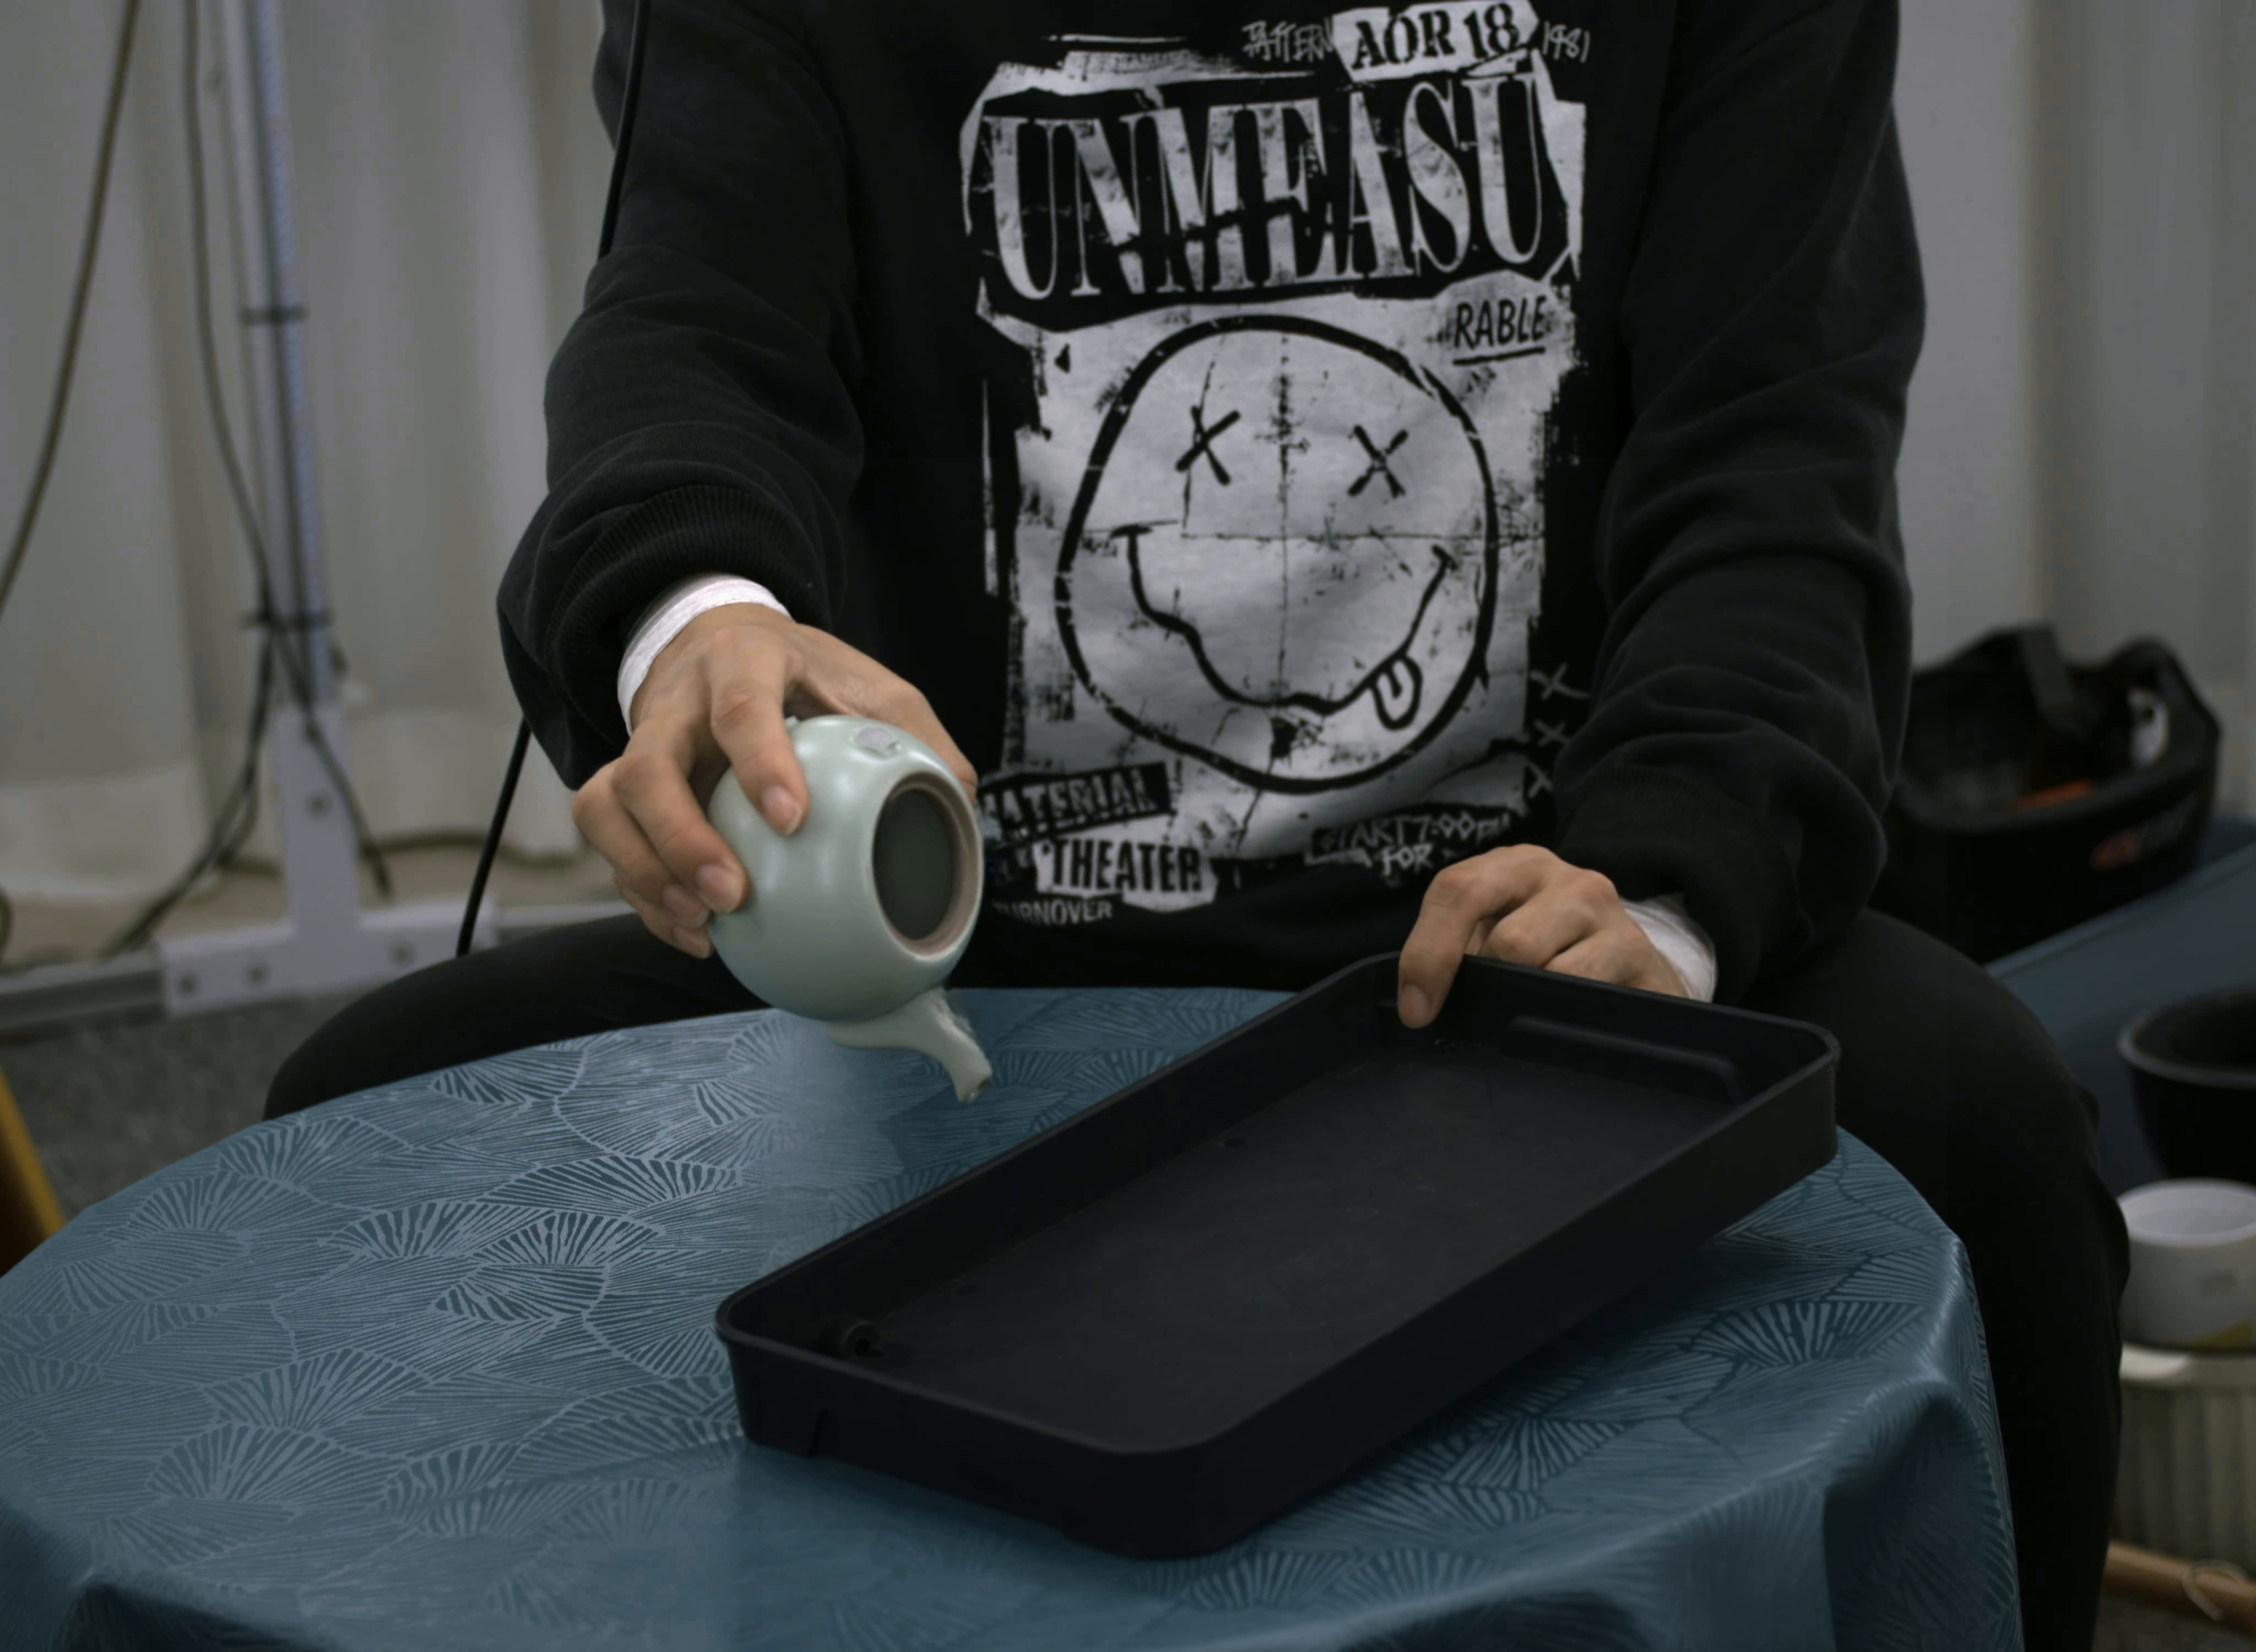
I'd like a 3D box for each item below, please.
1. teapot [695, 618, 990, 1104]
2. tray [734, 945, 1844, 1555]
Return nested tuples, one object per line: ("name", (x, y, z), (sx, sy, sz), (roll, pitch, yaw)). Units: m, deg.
("teapot", (-0.081, 0.011, 1.568), (0.075, 0.143, 0.088), (-1, 14, 32))
("tray", (0.053, 0.114, 1.575), (0.185, 0.037, 0.318), (9, 25, 40))
